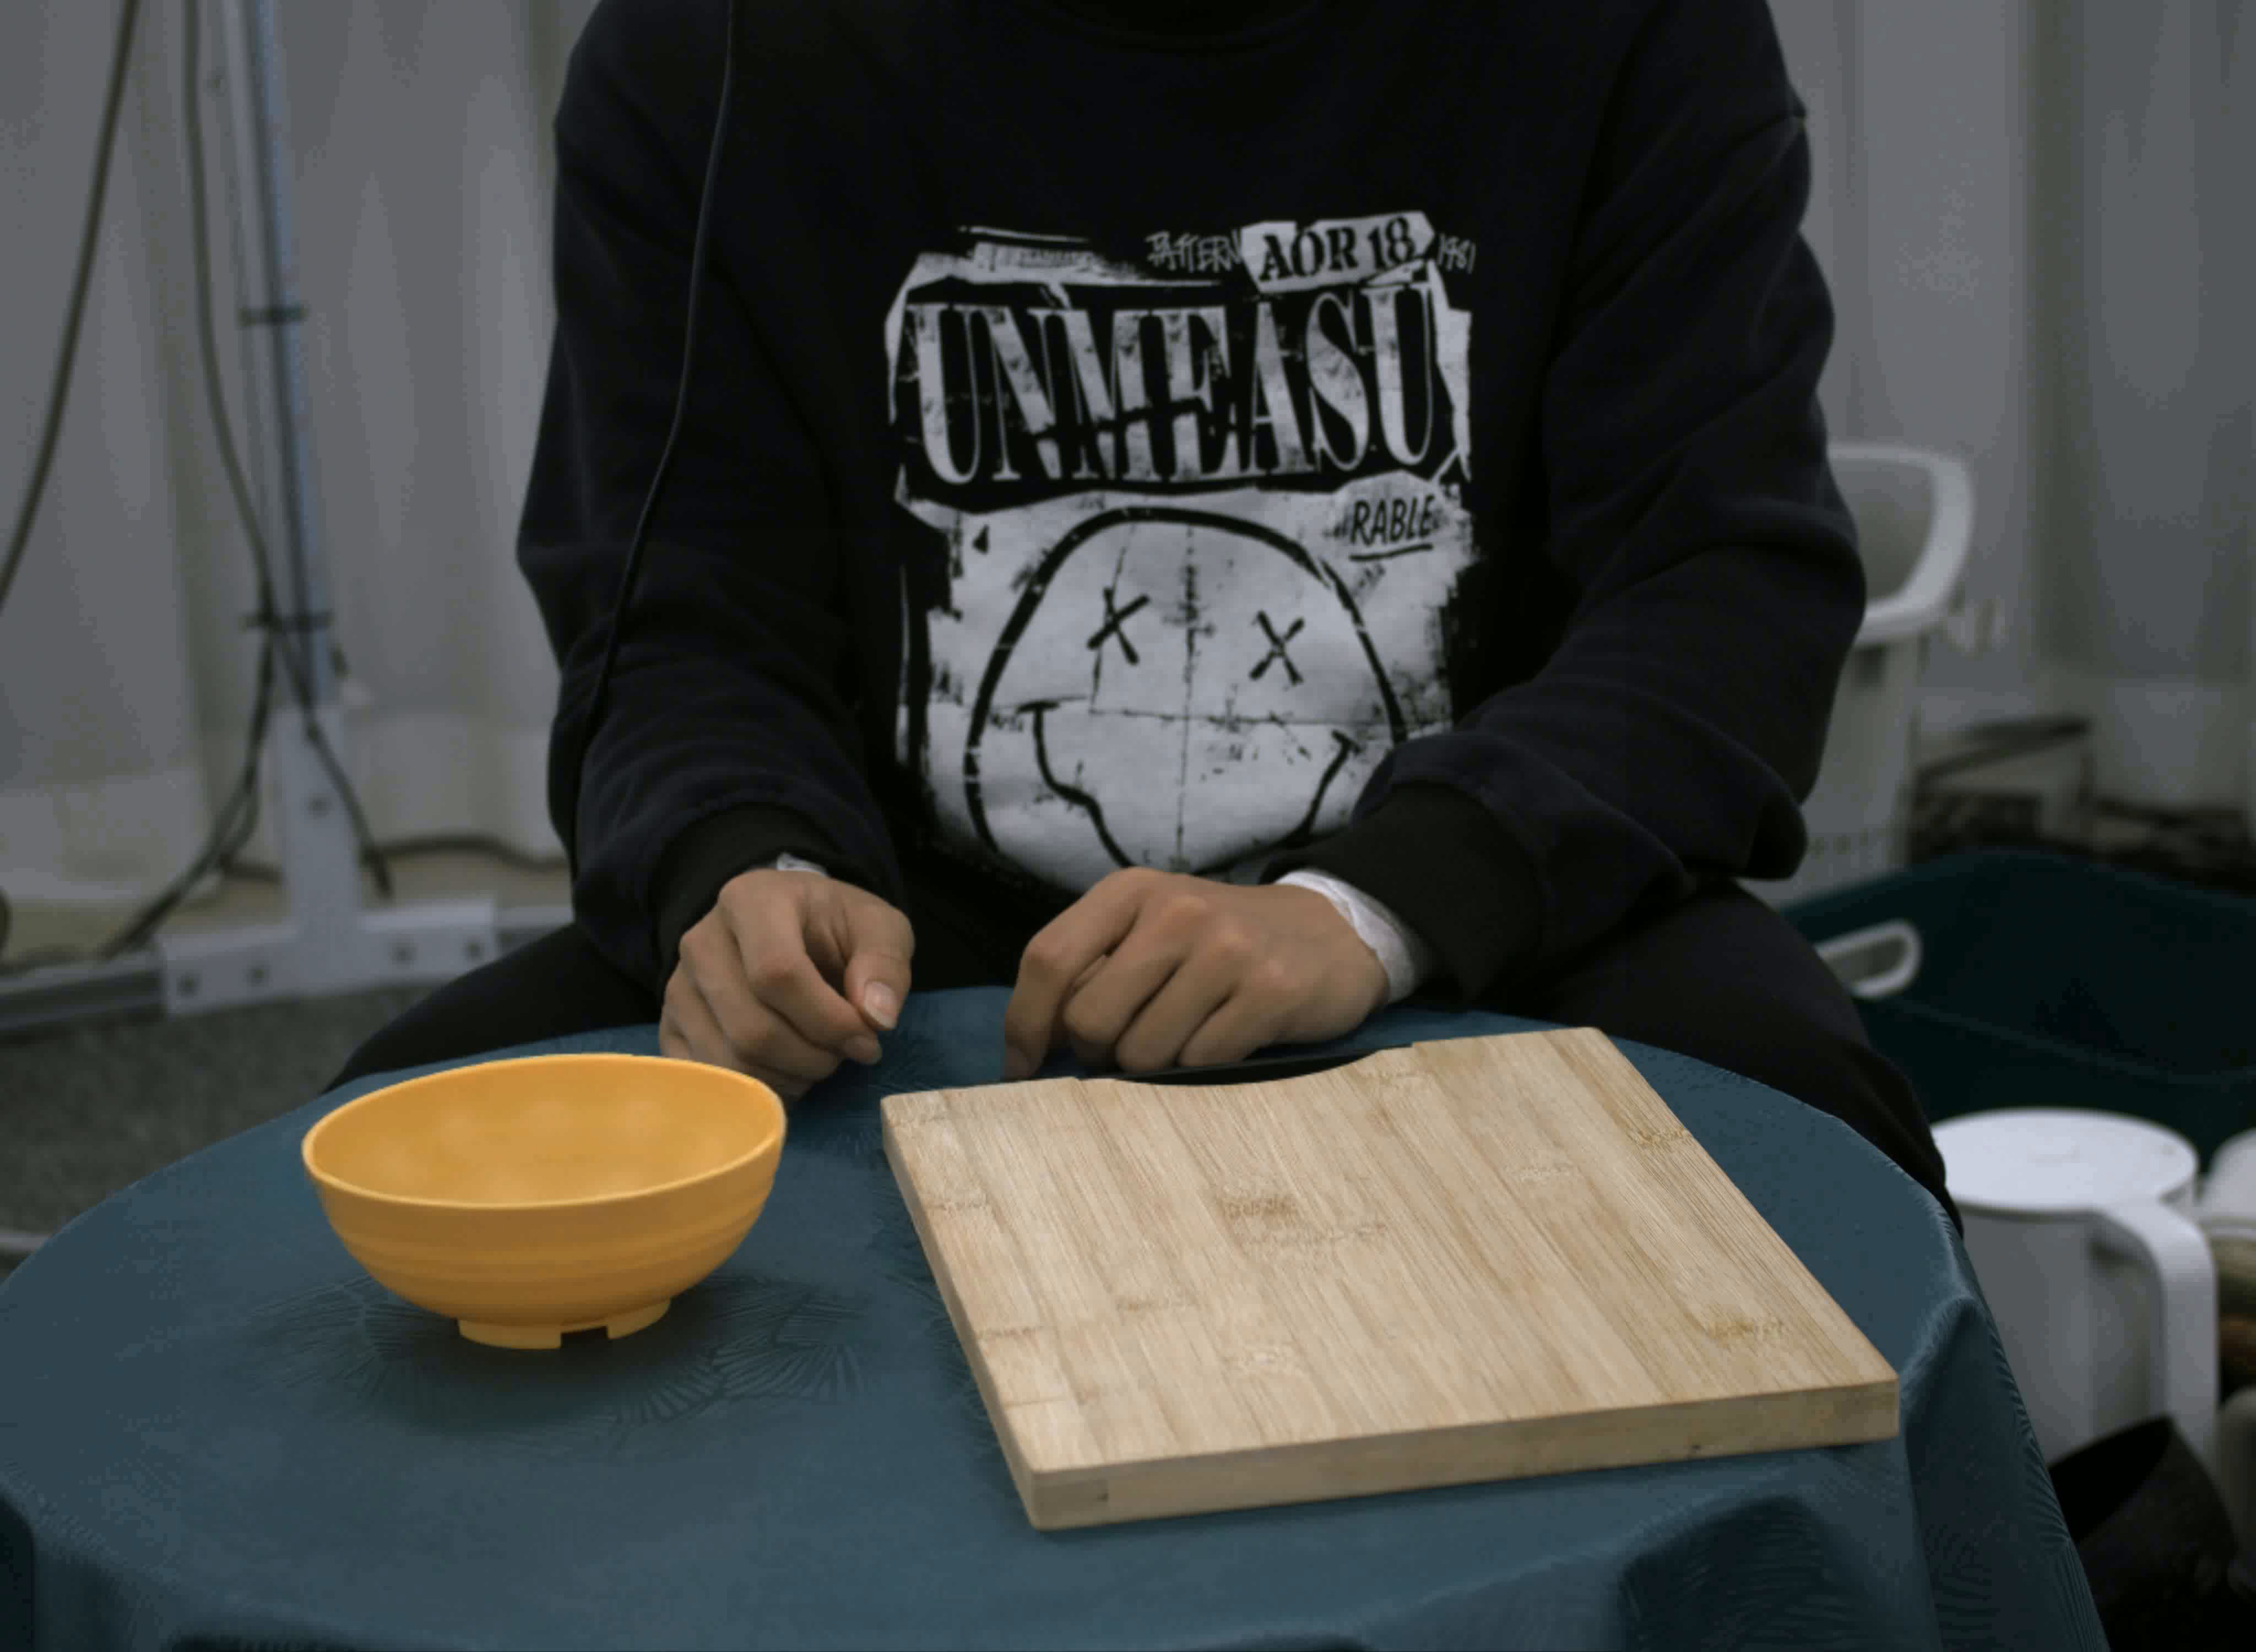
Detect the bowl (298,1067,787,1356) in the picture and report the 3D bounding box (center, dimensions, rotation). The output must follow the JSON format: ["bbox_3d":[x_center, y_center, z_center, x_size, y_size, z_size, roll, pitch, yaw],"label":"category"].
[{"bbox_3d":[-0.173,0.119,1.625,0.145,0.060,0.146,-1,13,0],"label":"bowl"}]

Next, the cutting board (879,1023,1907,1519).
[{"bbox_3d":[0.065,0.126,1.628,0.249,0.023,0.351,-5,15,-9],"label":"cutting board"}]
